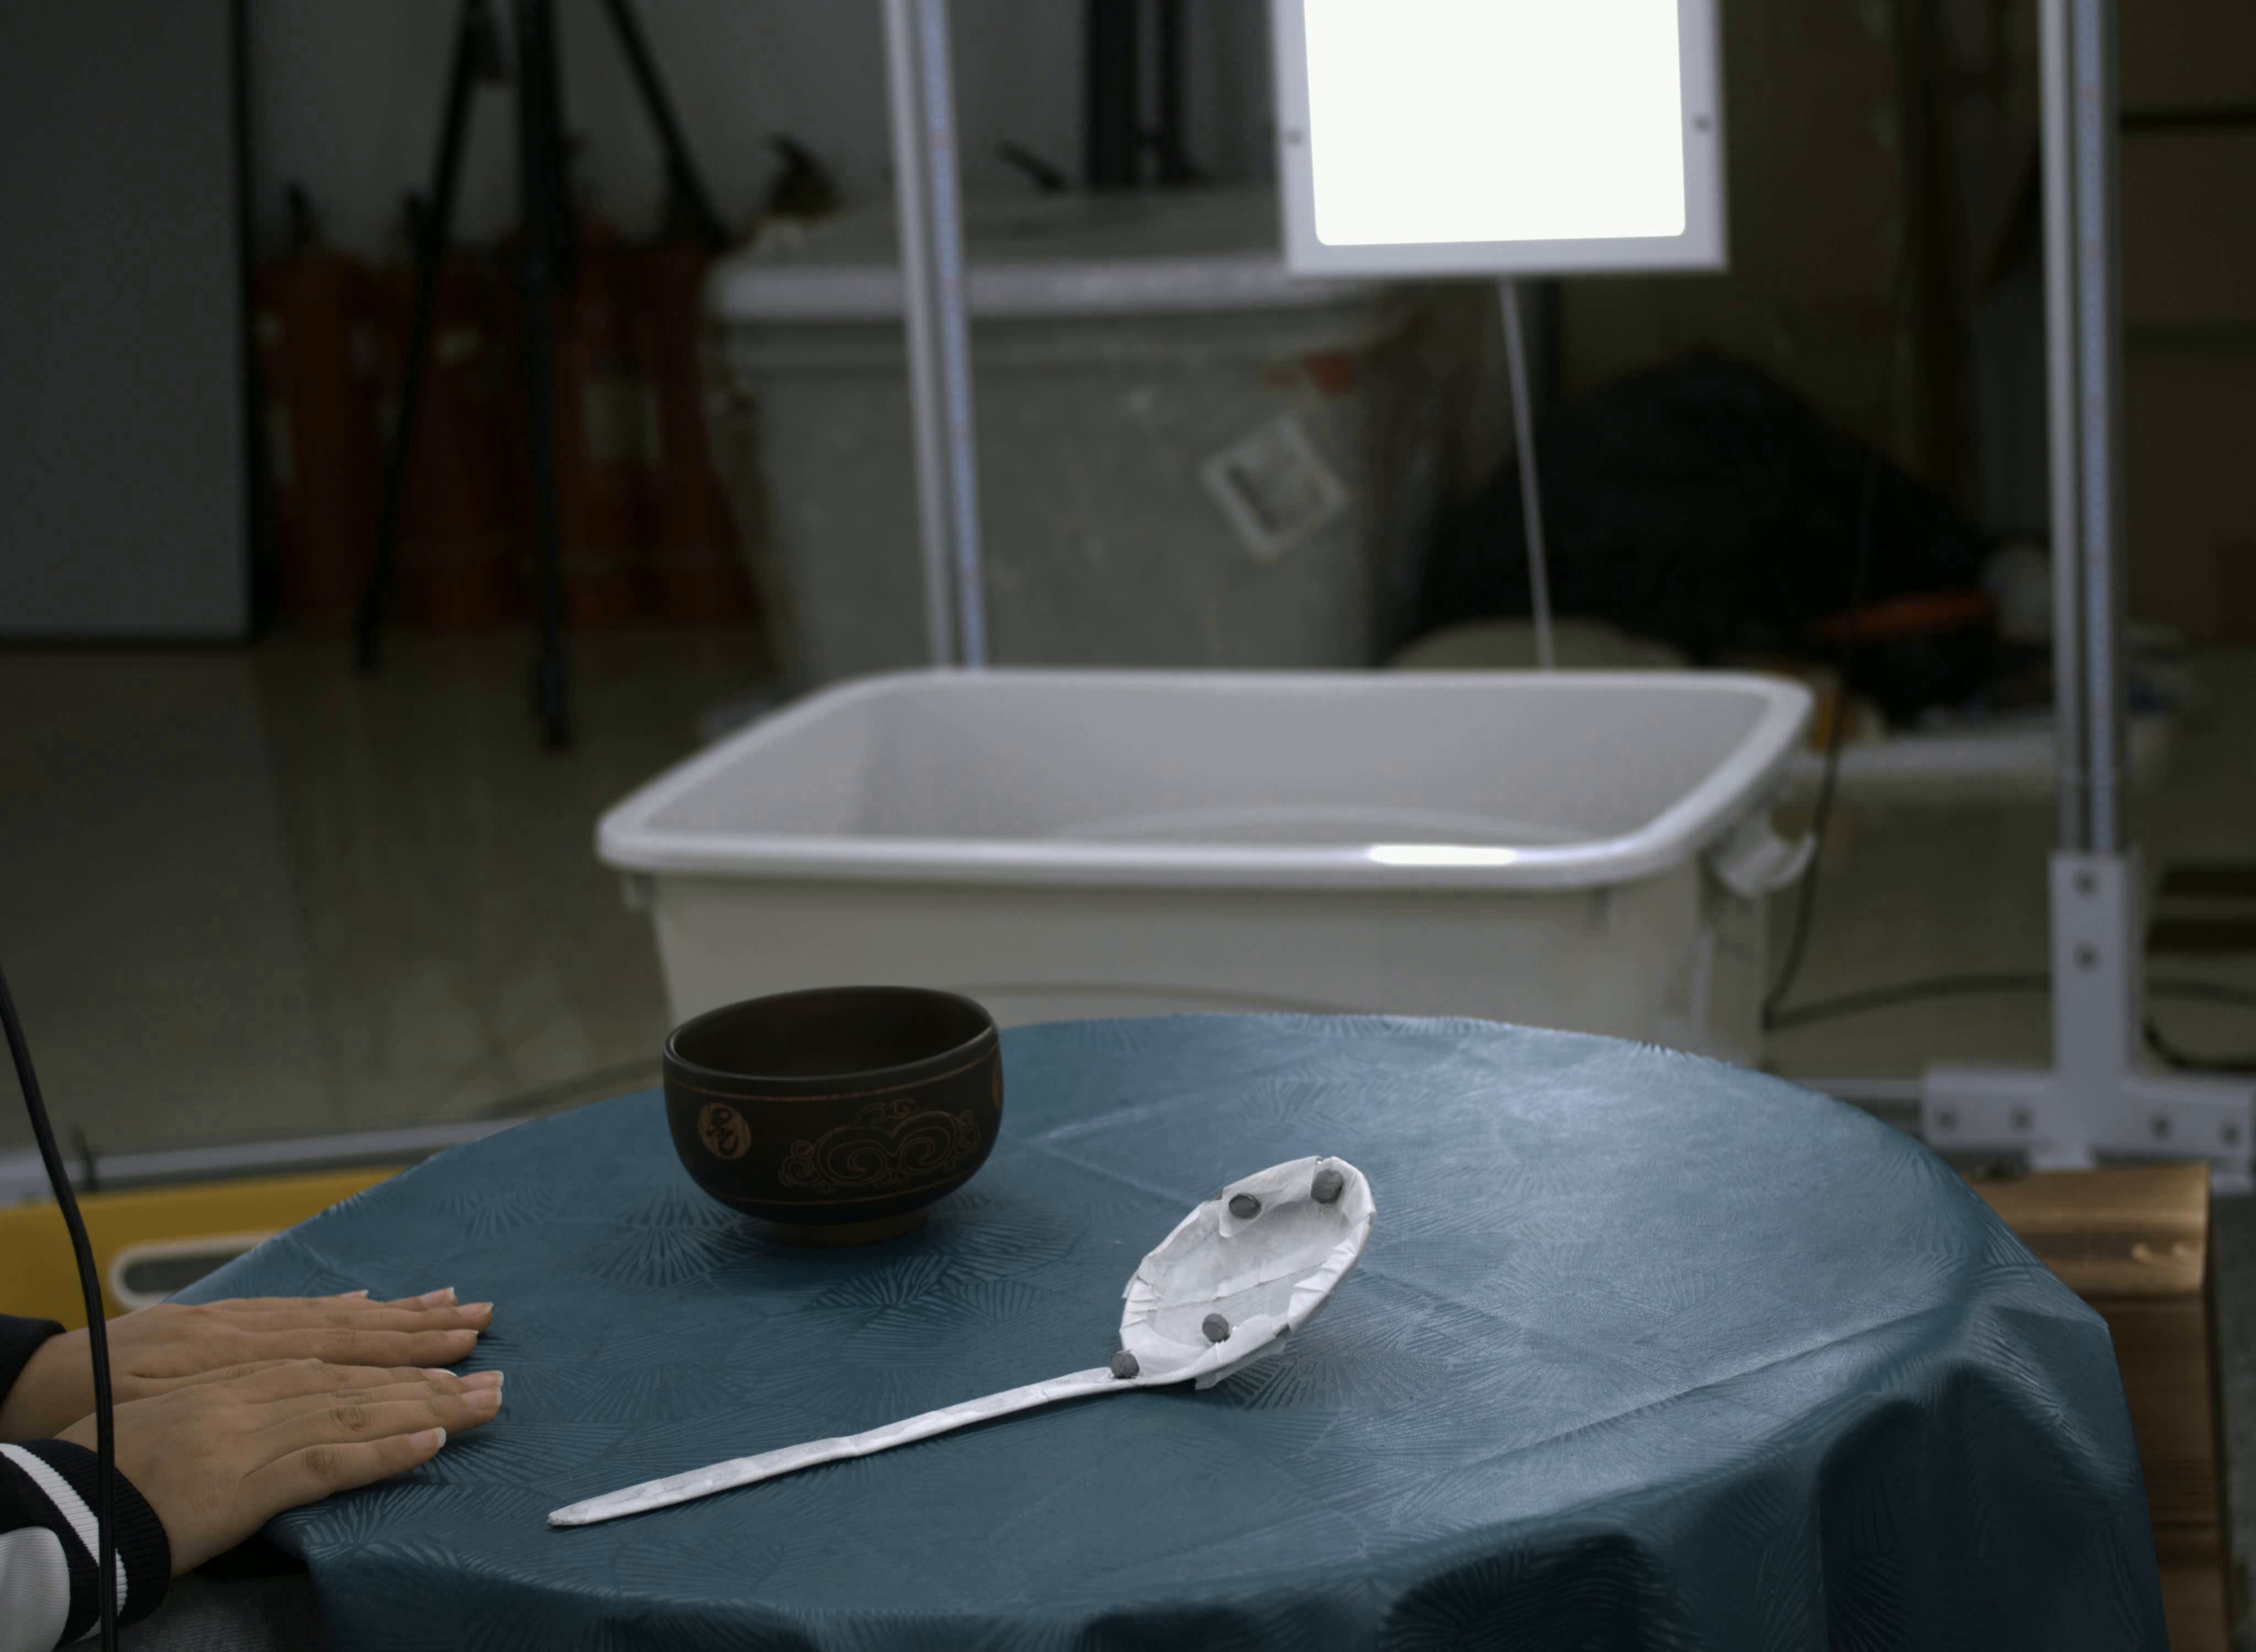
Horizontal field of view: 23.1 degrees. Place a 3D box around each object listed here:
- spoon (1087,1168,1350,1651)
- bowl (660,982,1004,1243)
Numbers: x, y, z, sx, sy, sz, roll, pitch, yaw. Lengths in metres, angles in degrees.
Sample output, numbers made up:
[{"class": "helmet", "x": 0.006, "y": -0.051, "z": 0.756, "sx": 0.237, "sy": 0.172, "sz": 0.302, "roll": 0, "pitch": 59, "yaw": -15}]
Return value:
[{"class": "spoon", "x": 0.025, "y": 0.232, "z": 1.694, "sx": 0.058, "sy": 0.277, "sz": 0.103, "roll": 19, "pitch": -26, "yaw": -37}, {"class": "bowl", "x": -0.100, "y": 0.101, "z": 1.885, "sx": 0.118, "sy": 0.070, "sz": 0.118, "roll": -5, "pitch": 13, "yaw": 0}]
